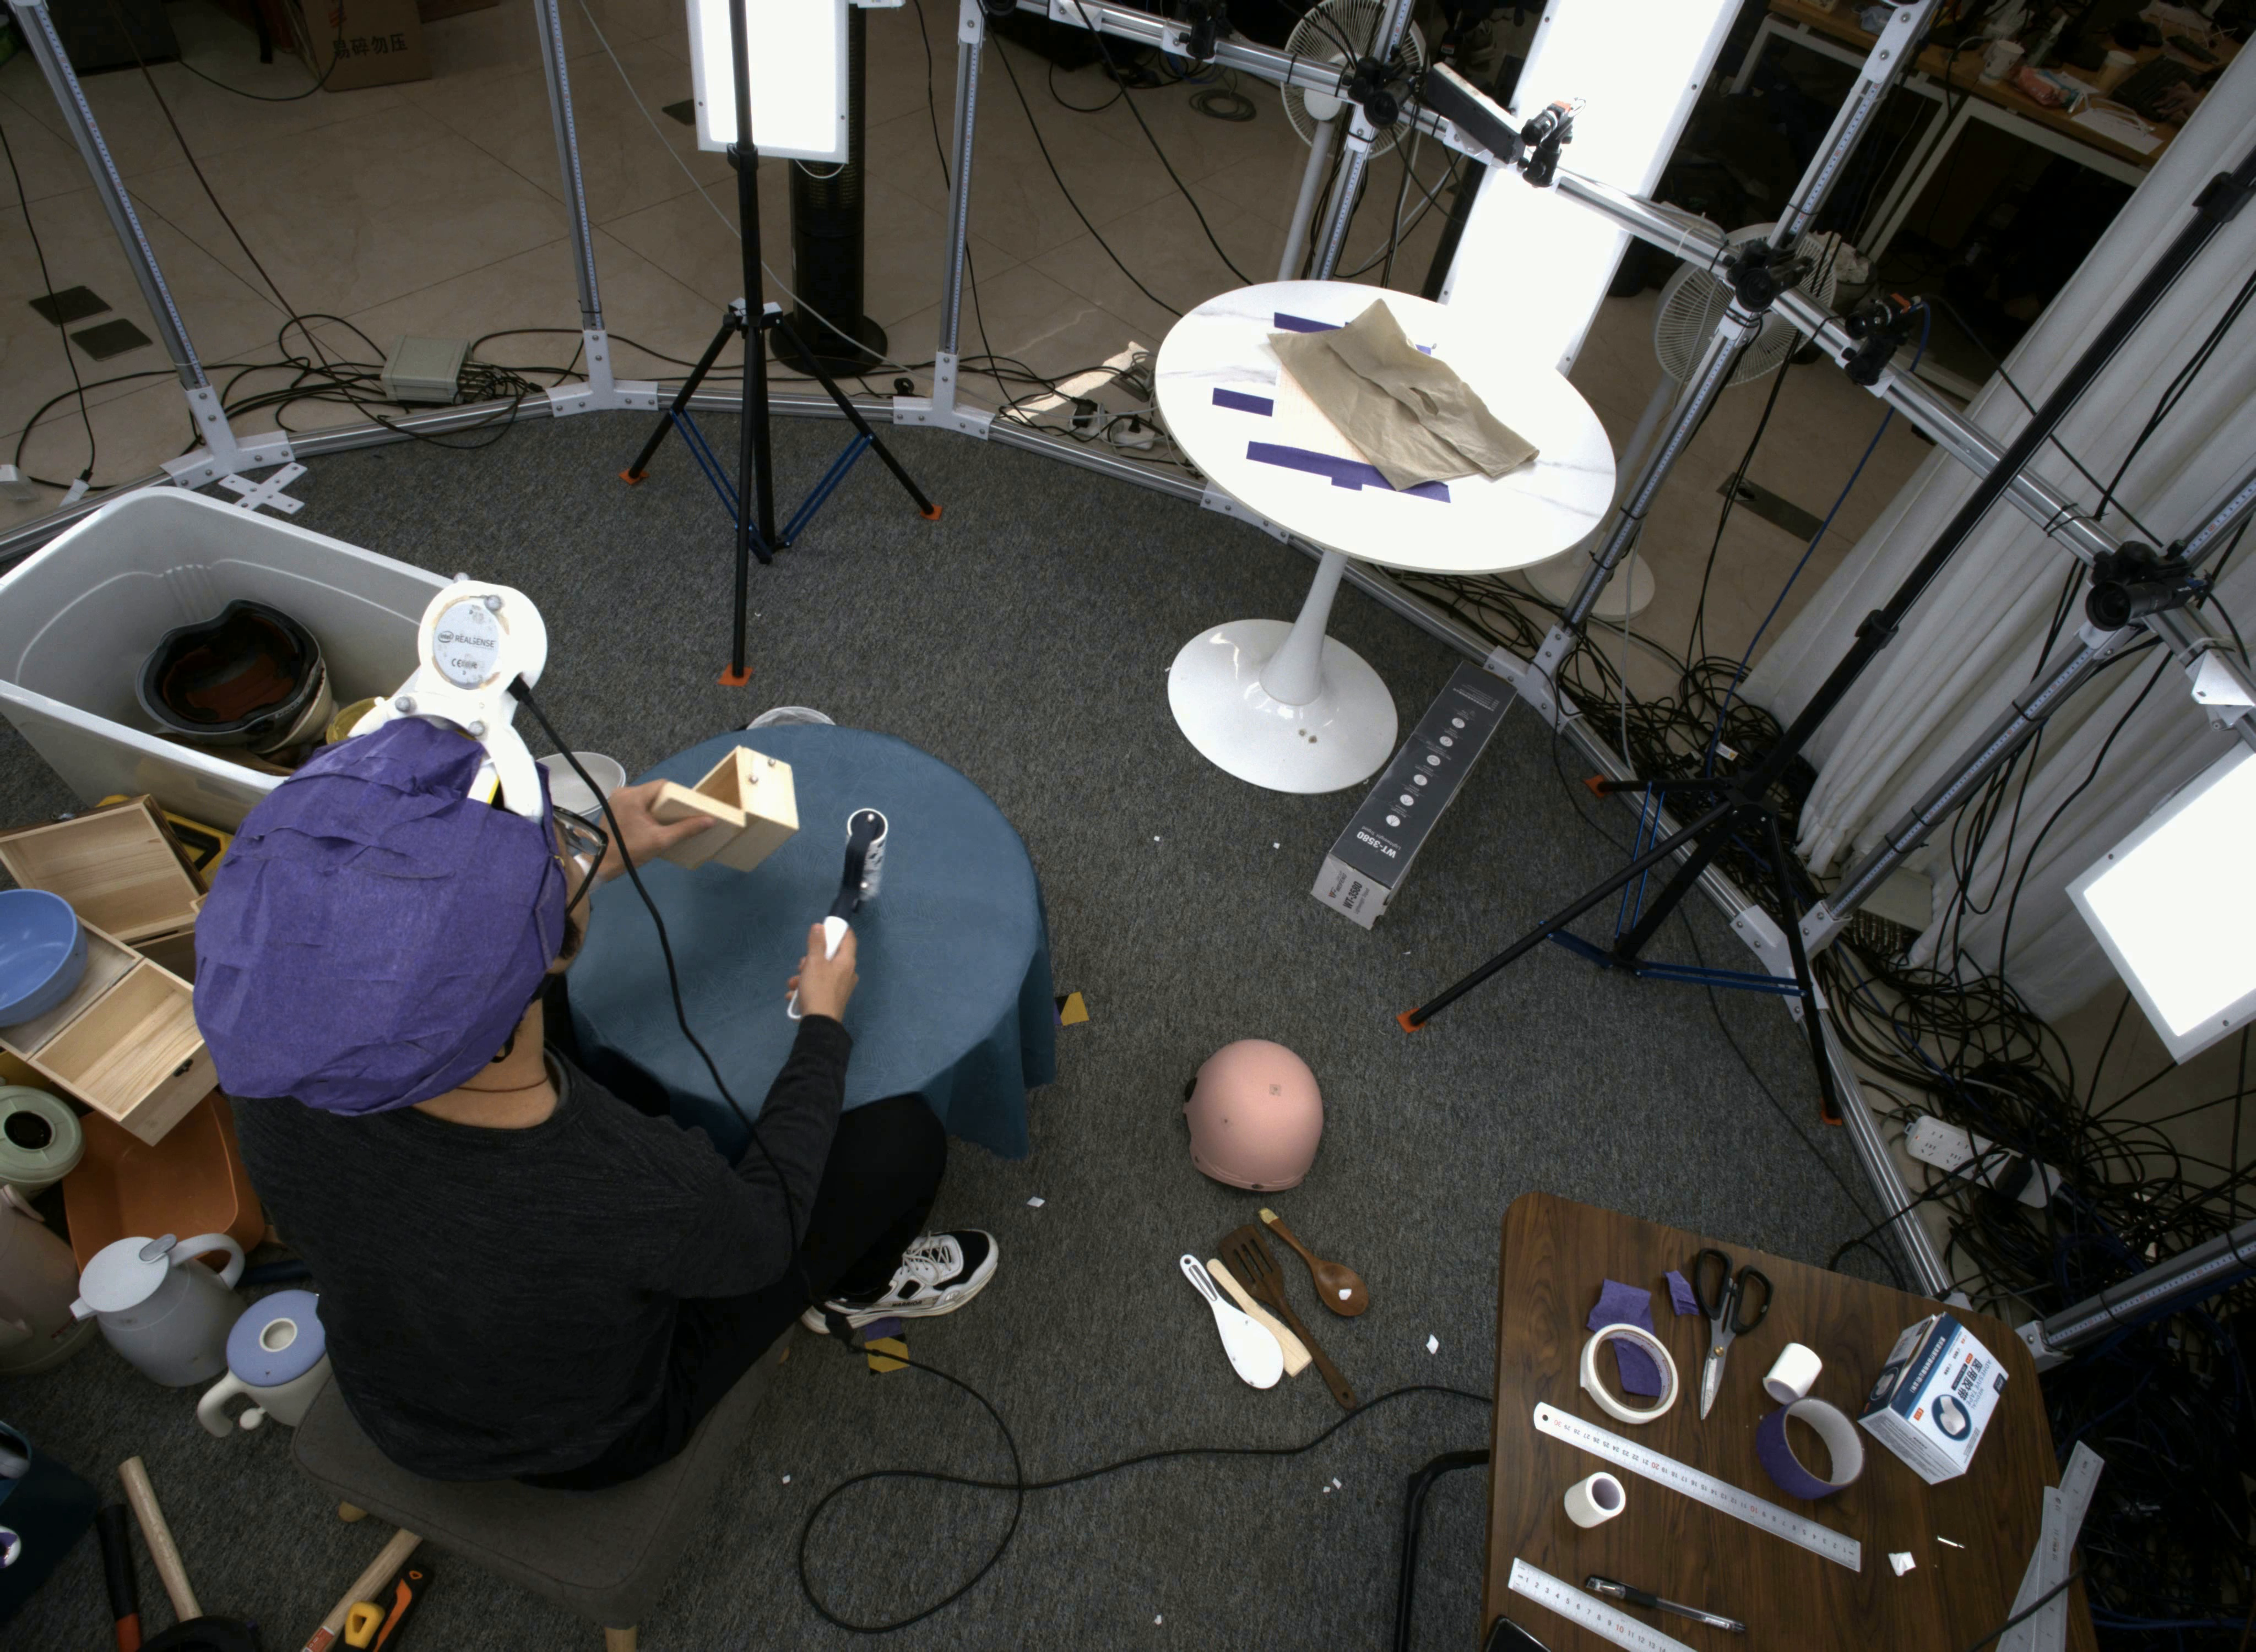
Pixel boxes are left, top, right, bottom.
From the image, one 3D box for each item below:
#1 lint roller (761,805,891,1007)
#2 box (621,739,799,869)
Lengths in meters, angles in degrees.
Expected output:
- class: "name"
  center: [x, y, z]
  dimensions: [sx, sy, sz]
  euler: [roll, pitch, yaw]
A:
- class: "lint roller"
  center: [-0.351, 0.113, 1.526]
  dimensions: [0.049, 0.180, 0.245]
  euler: [20, 53, 8]
- class: "box"
  center: [-0.497, -0.034, 1.519]
  dimensions: [0.190, 0.102, 0.131]
  euler: [24, 38, -48]
